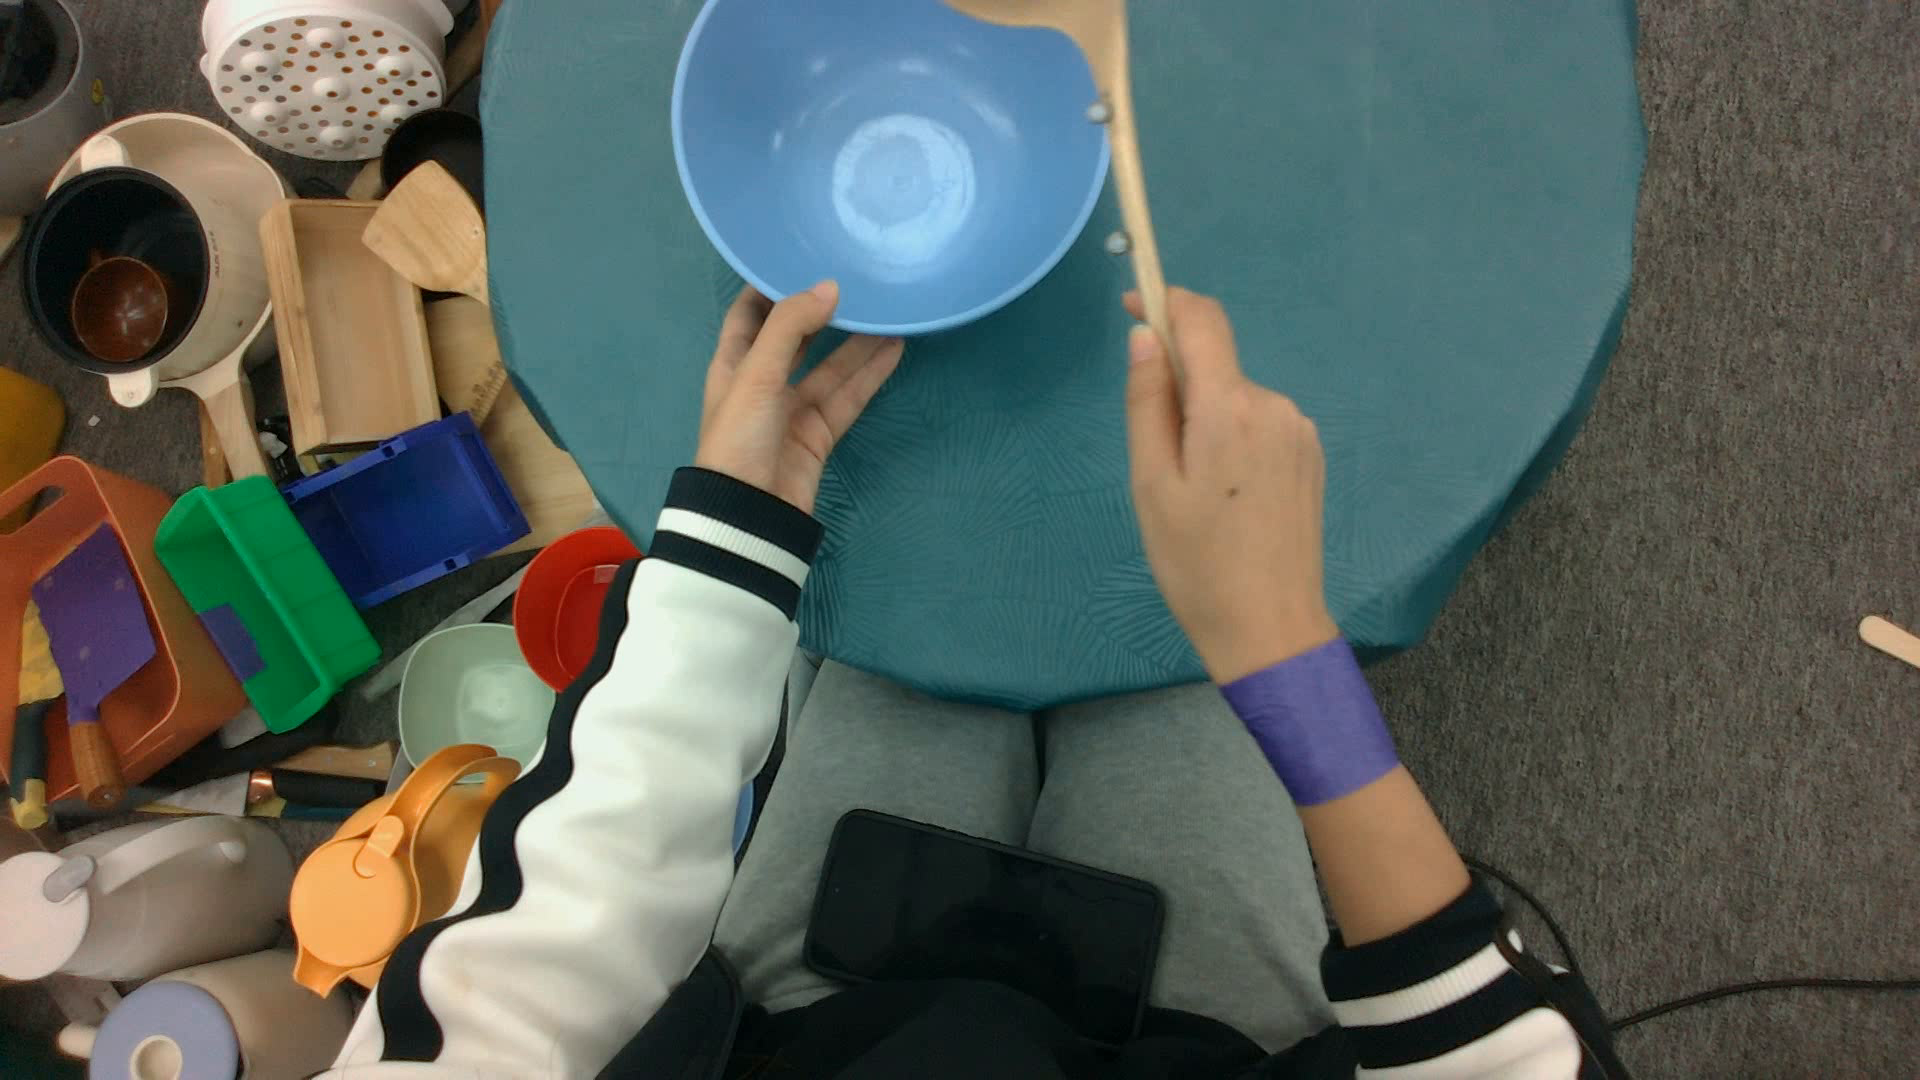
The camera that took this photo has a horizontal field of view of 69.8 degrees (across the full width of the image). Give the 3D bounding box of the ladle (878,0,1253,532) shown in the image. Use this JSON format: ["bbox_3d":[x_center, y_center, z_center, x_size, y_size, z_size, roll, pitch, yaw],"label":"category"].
[{"bbox_3d":[0.034,-0.111,0.497,0.073,0.072,0.254,-20,92,-23],"label":"ladle"}]

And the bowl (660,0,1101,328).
[{"bbox_3d":[-0.036,-0.188,0.659,0.196,0.095,0.196,0,84,-2],"label":"bowl"}]
